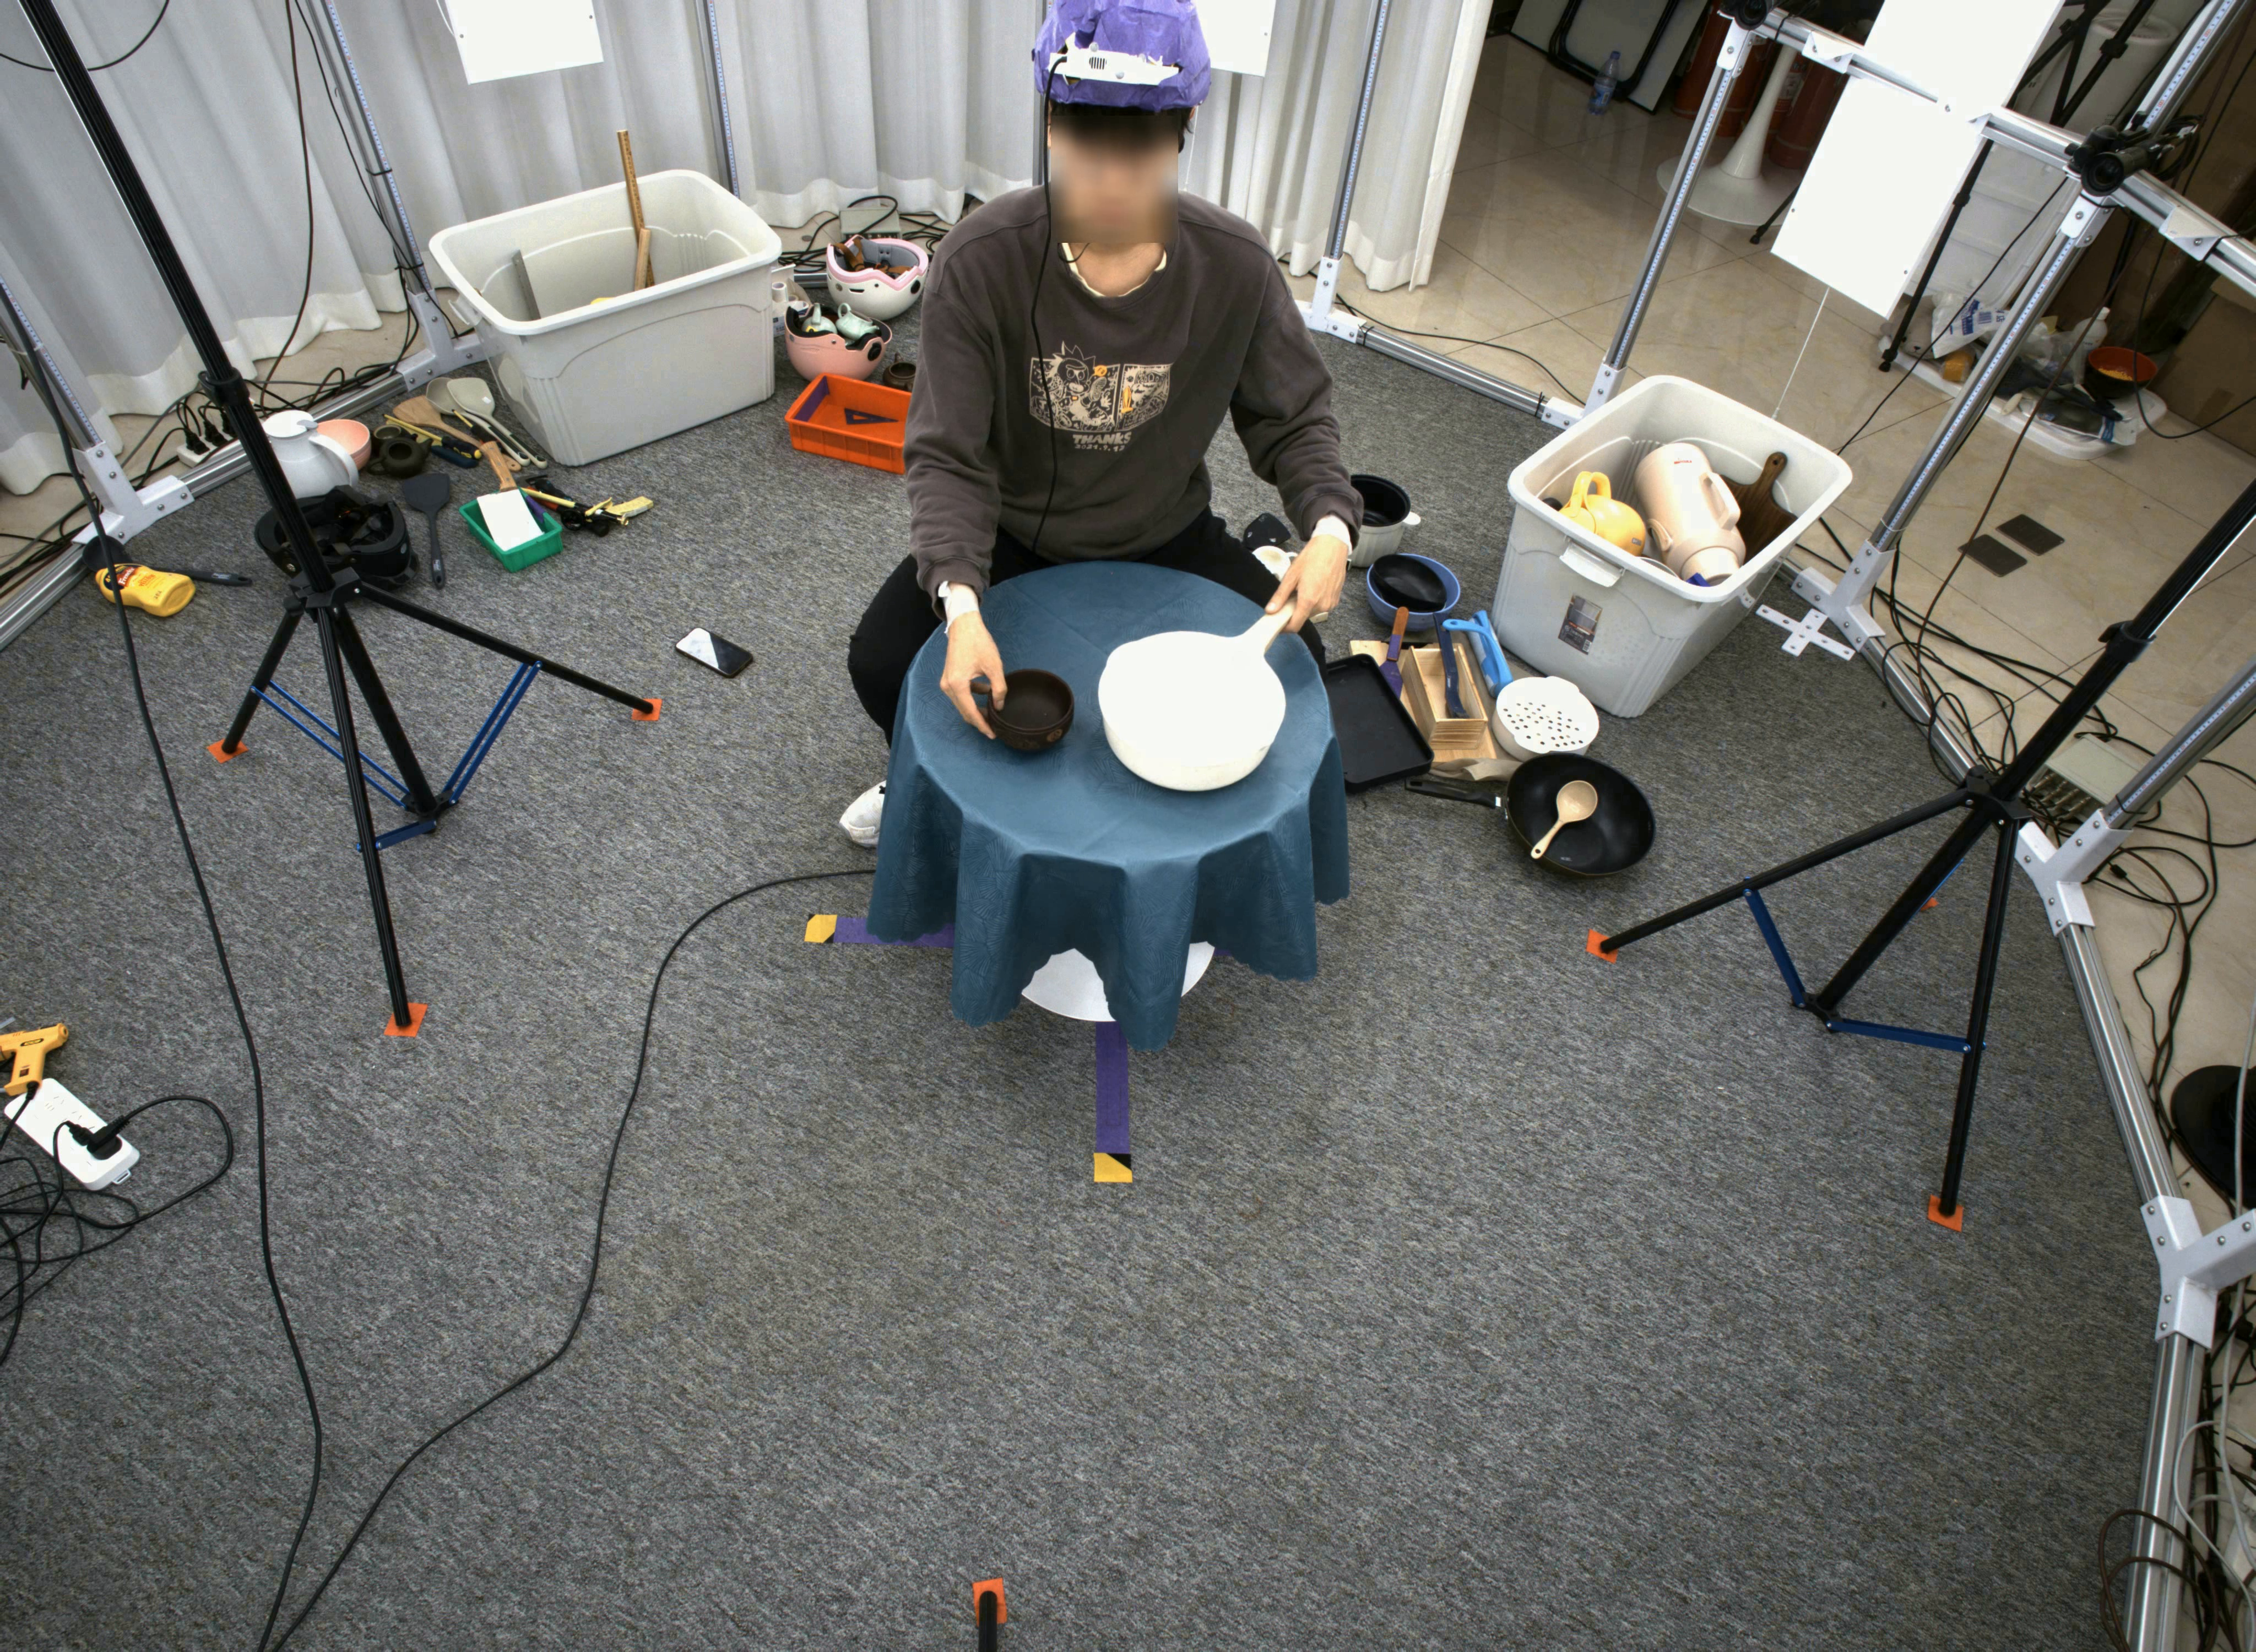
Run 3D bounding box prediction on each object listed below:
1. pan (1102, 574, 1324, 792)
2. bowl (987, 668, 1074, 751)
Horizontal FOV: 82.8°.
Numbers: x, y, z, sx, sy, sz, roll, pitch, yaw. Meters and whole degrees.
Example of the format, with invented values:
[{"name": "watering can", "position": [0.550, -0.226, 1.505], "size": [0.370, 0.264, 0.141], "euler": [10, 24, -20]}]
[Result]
[{"name": "pan", "position": [0.146, -0.206, 1.791], "size": [0.266, 0.099, 0.440], "euler": [31, 54, 24]}, {"name": "bowl", "position": [-0.132, -0.150, 1.740], "size": [0.118, 0.068, 0.121], "euler": [2, 49, -2]}]
